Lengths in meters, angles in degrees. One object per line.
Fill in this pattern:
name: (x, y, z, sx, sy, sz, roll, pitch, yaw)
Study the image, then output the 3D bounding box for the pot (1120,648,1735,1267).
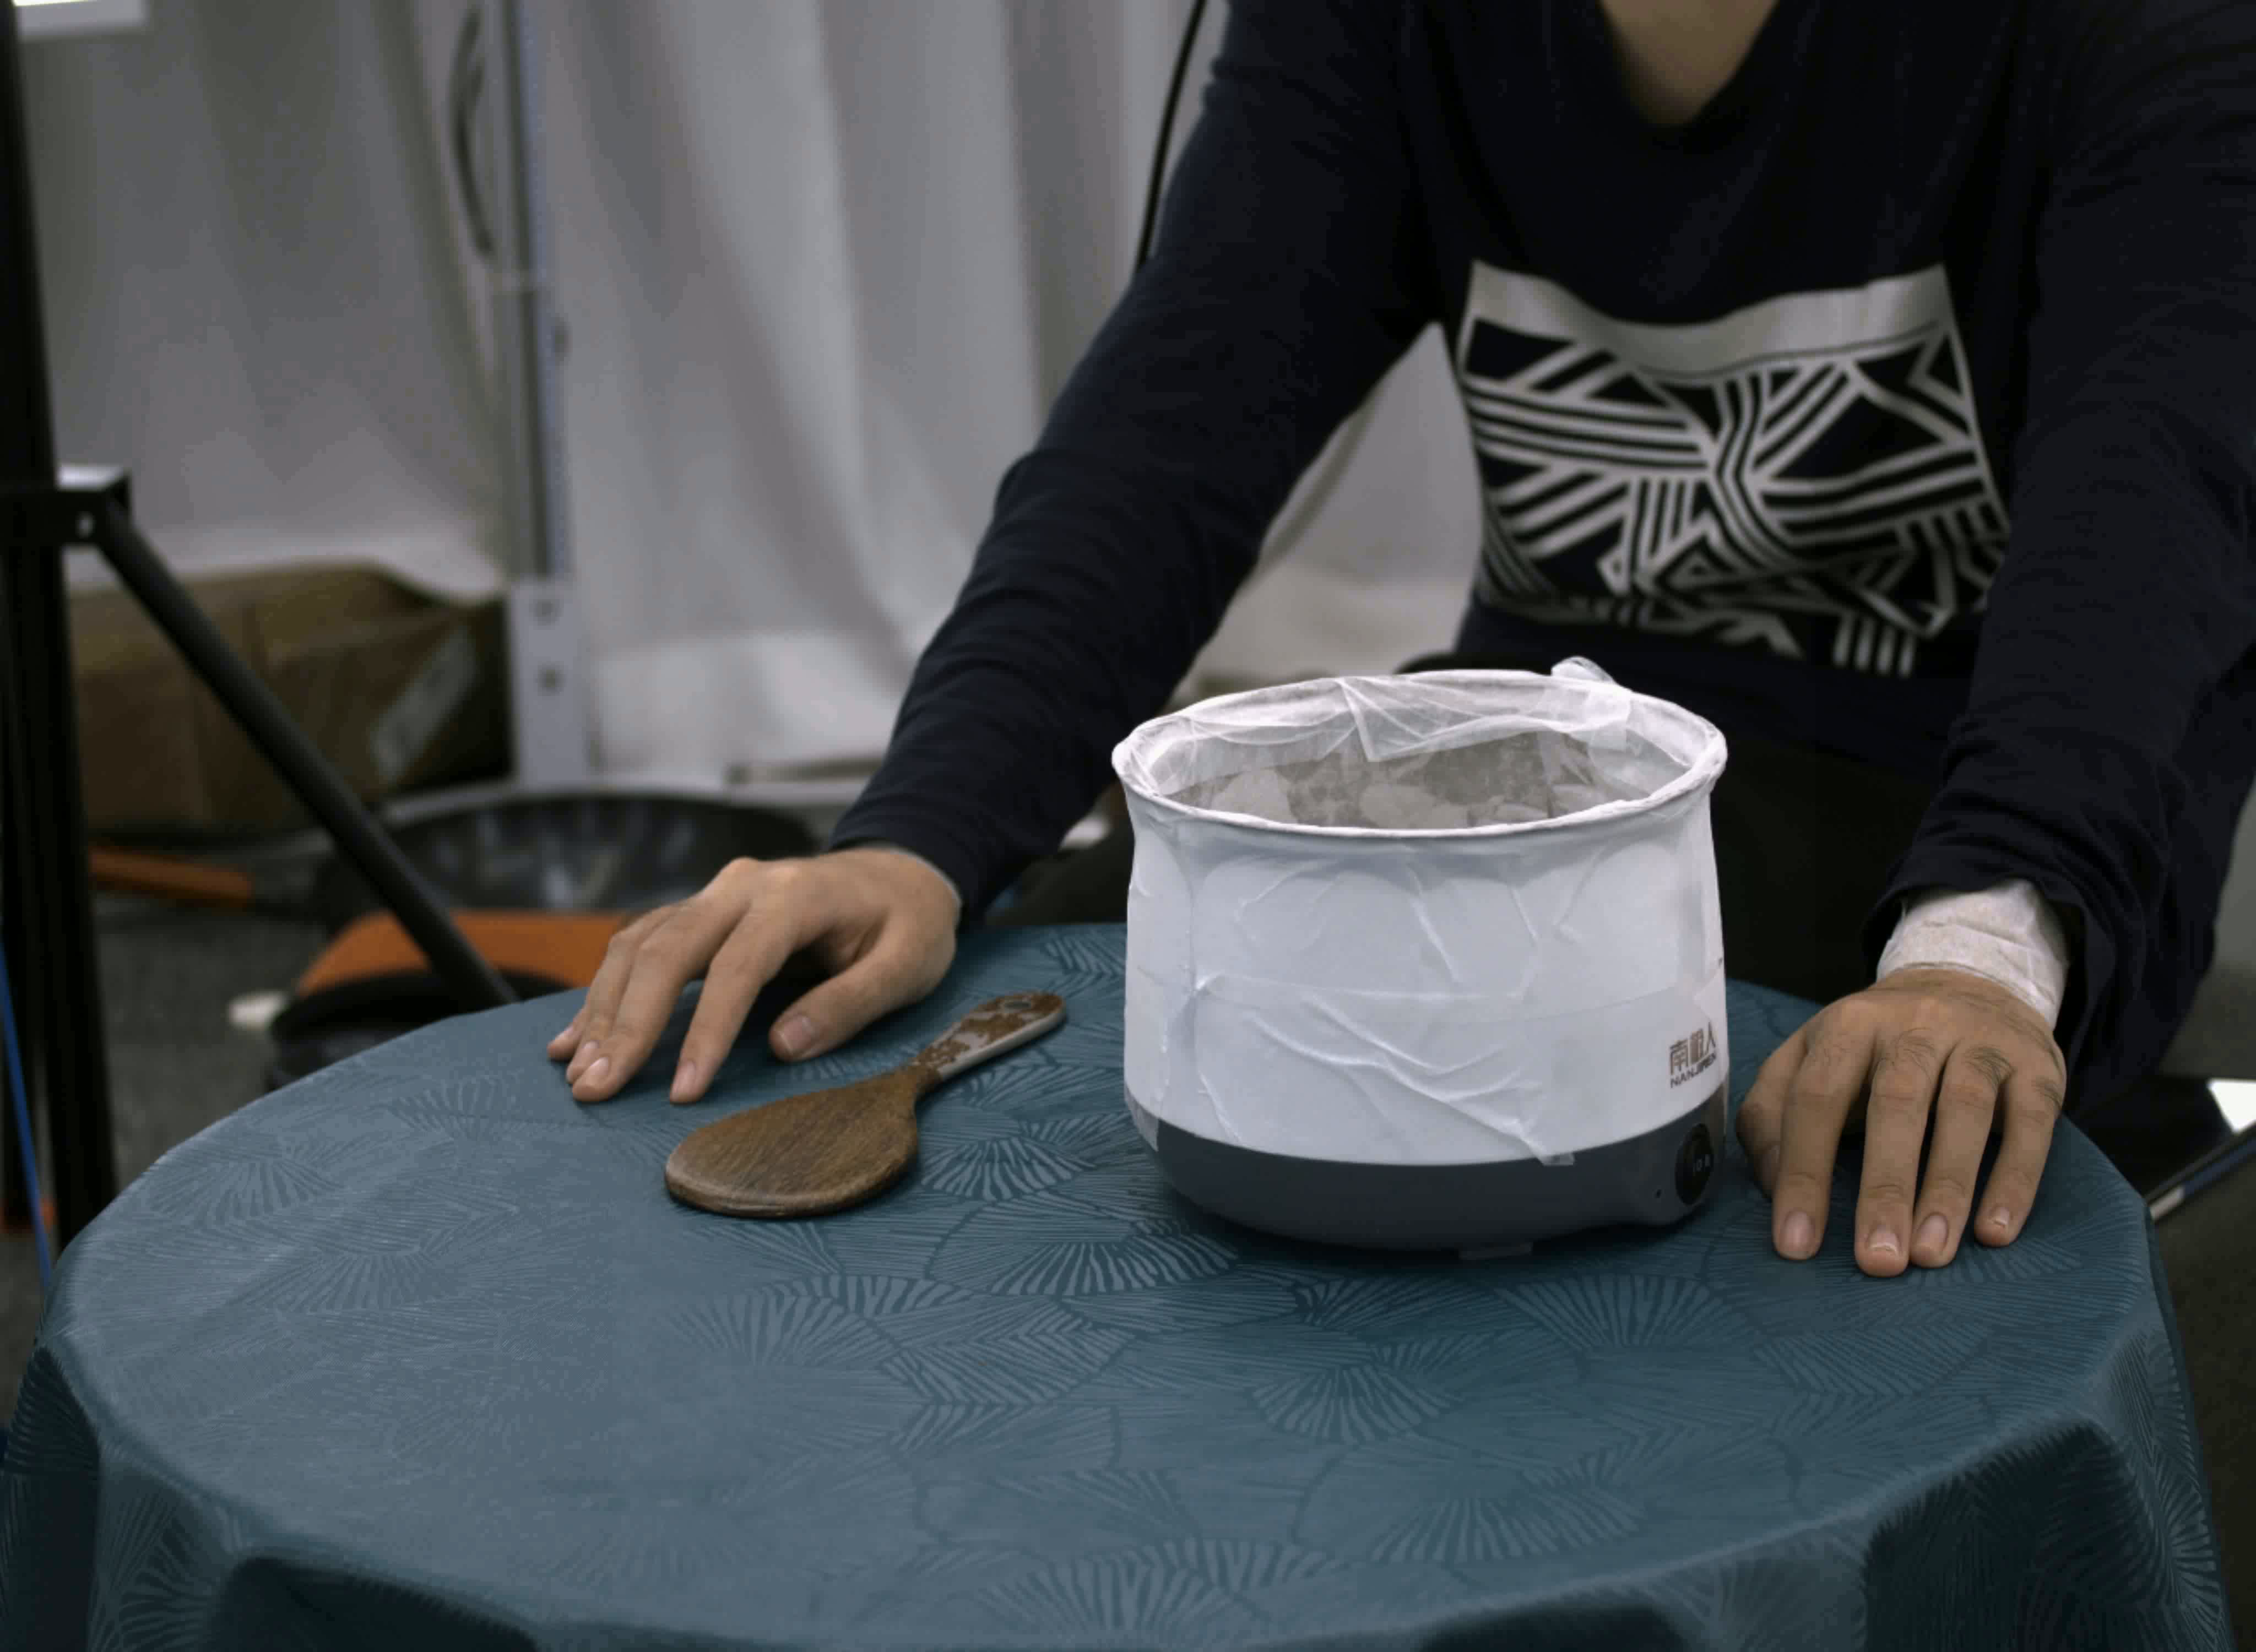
pot: (0.099, 0.031, 1.564, 0.182, 0.136, 0.229, 10, 21, 29)

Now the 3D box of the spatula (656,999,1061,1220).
spatula: (-0.071, 0.085, 1.646, 0.073, 0.009, 0.212, 7, 17, 25)
